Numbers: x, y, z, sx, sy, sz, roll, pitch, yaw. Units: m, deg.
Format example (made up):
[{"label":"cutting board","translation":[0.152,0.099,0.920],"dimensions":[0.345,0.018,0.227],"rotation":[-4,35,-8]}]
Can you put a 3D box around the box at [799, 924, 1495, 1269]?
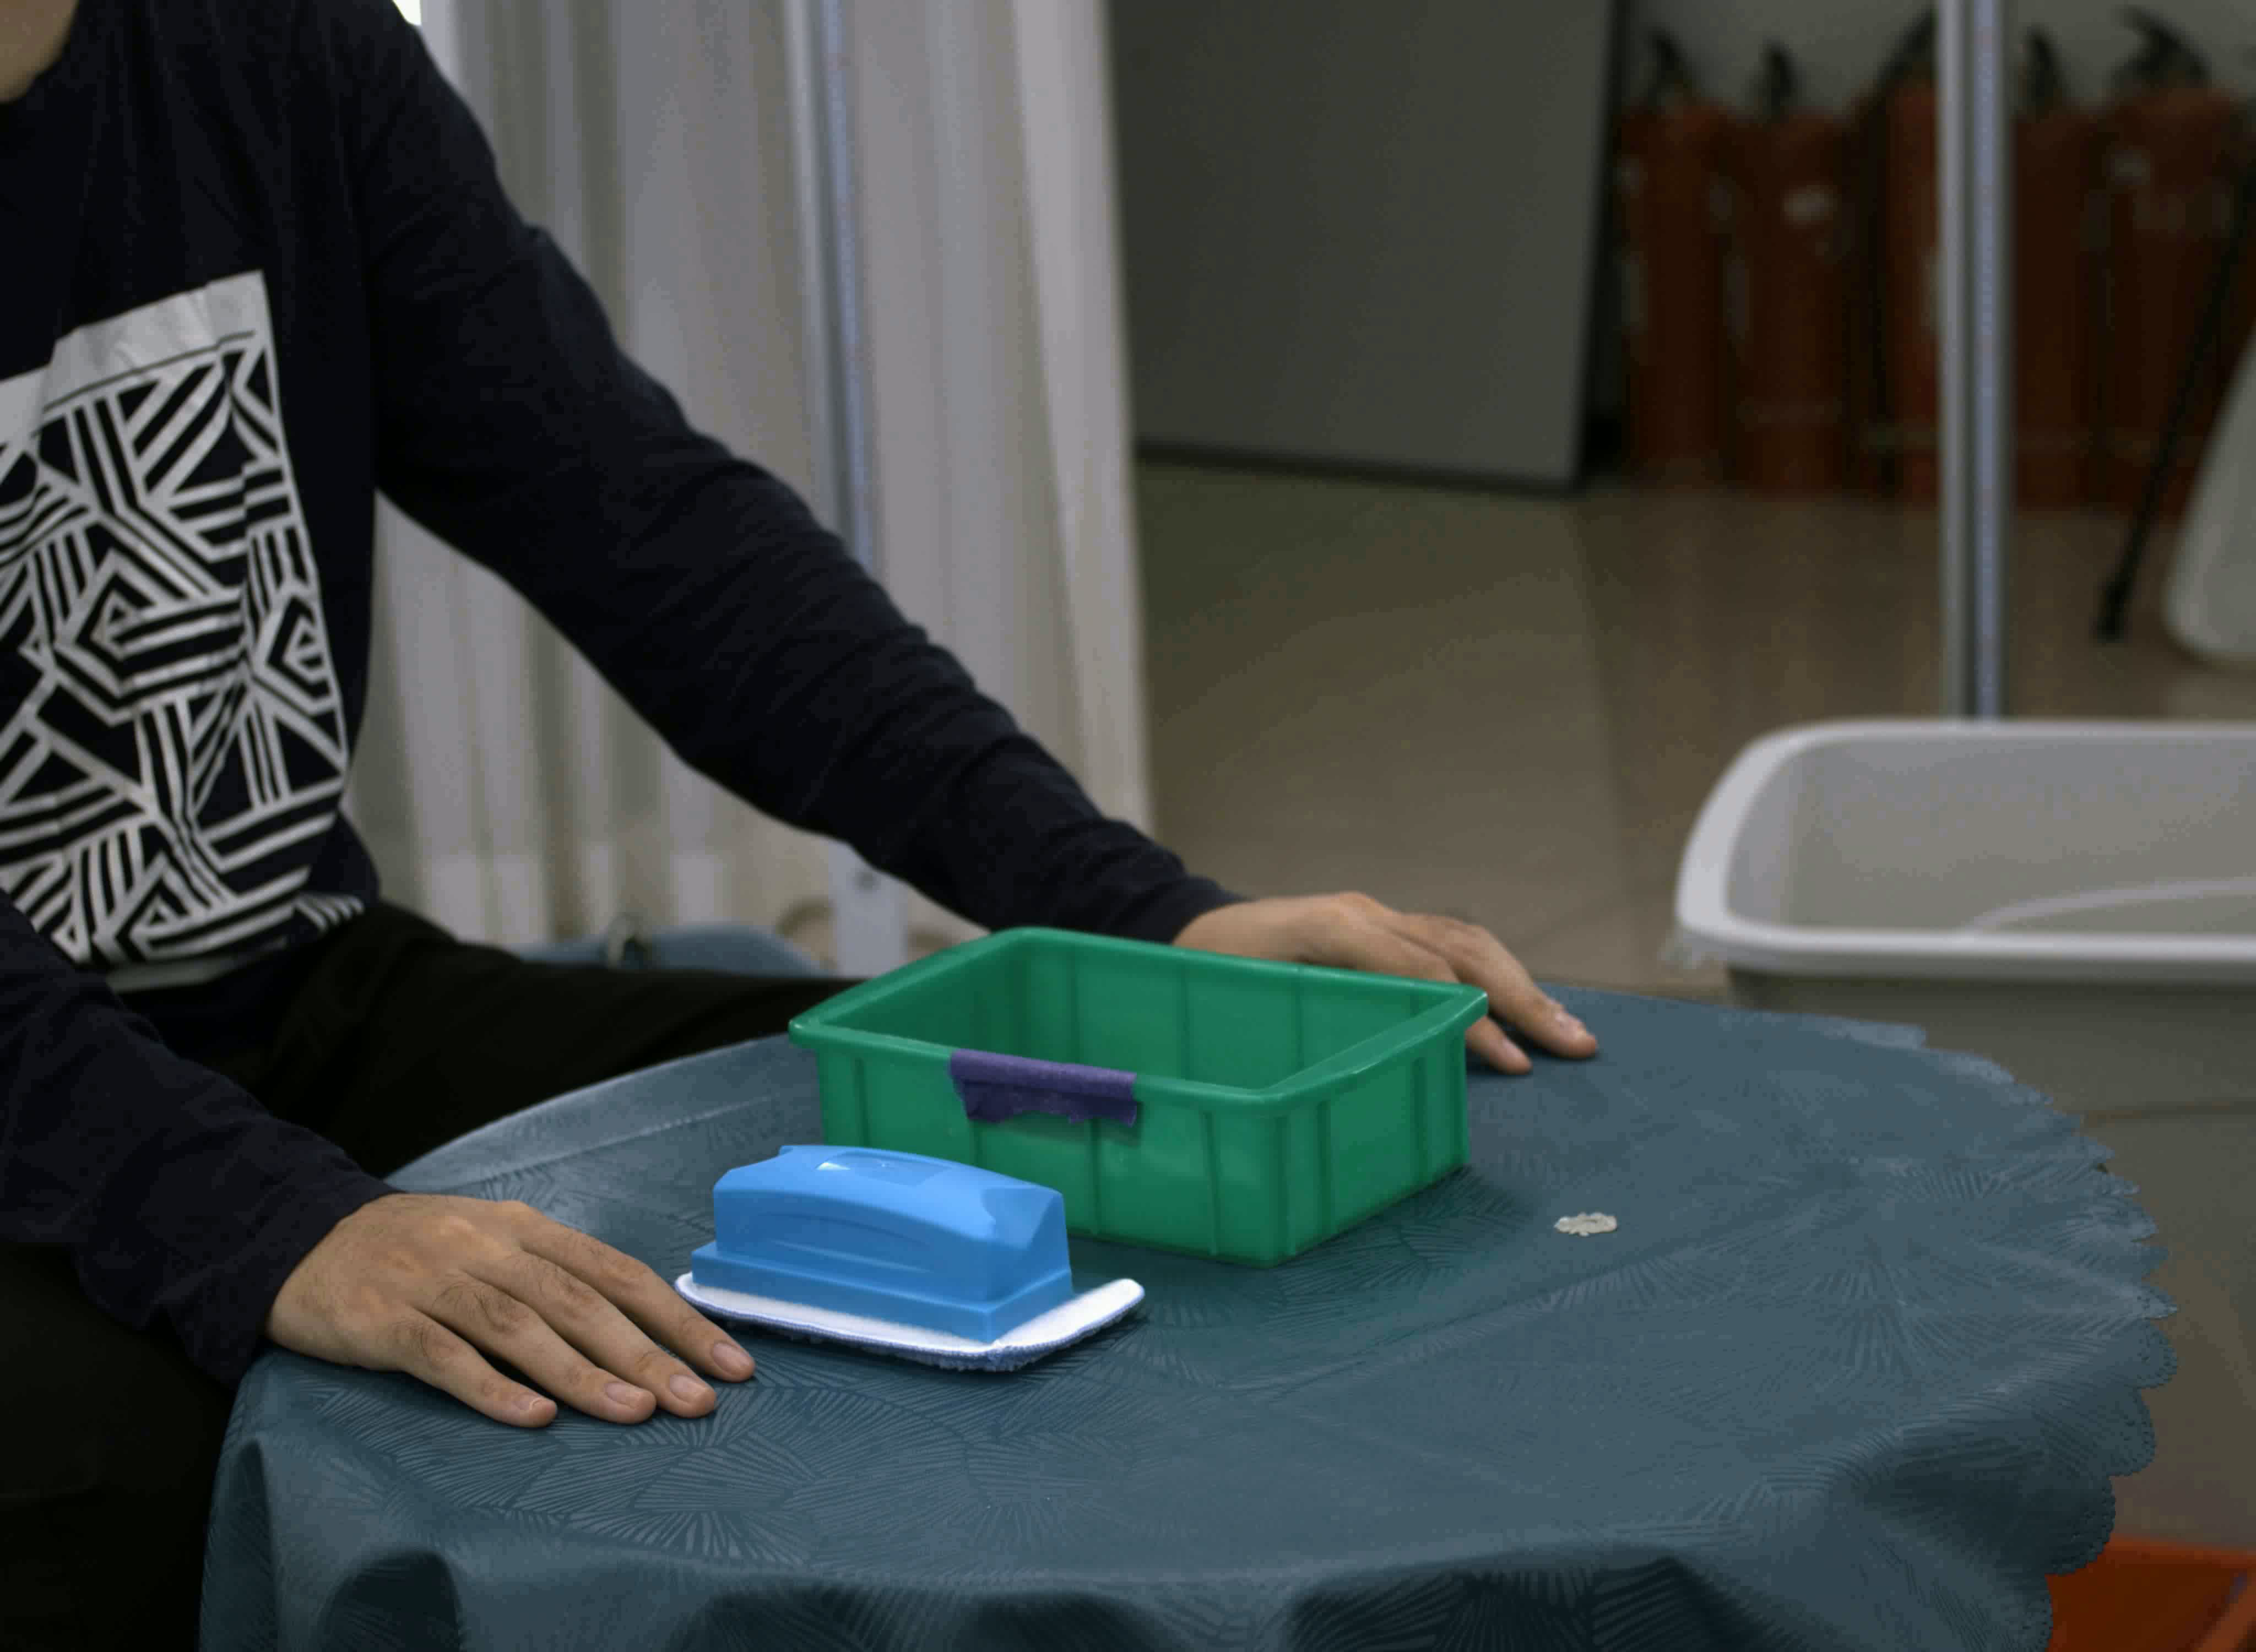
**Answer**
[{"label":"box","translation":[0.008,0.088,1.777],"dimensions":[0.212,0.066,0.136],"rotation":[6,20,35]}]

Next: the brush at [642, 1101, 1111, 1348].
[{"label":"brush","translation":[-0.077,0.121,1.661],"dimensions":[0.145,0.056,0.082],"rotation":[13,19,37]}]
